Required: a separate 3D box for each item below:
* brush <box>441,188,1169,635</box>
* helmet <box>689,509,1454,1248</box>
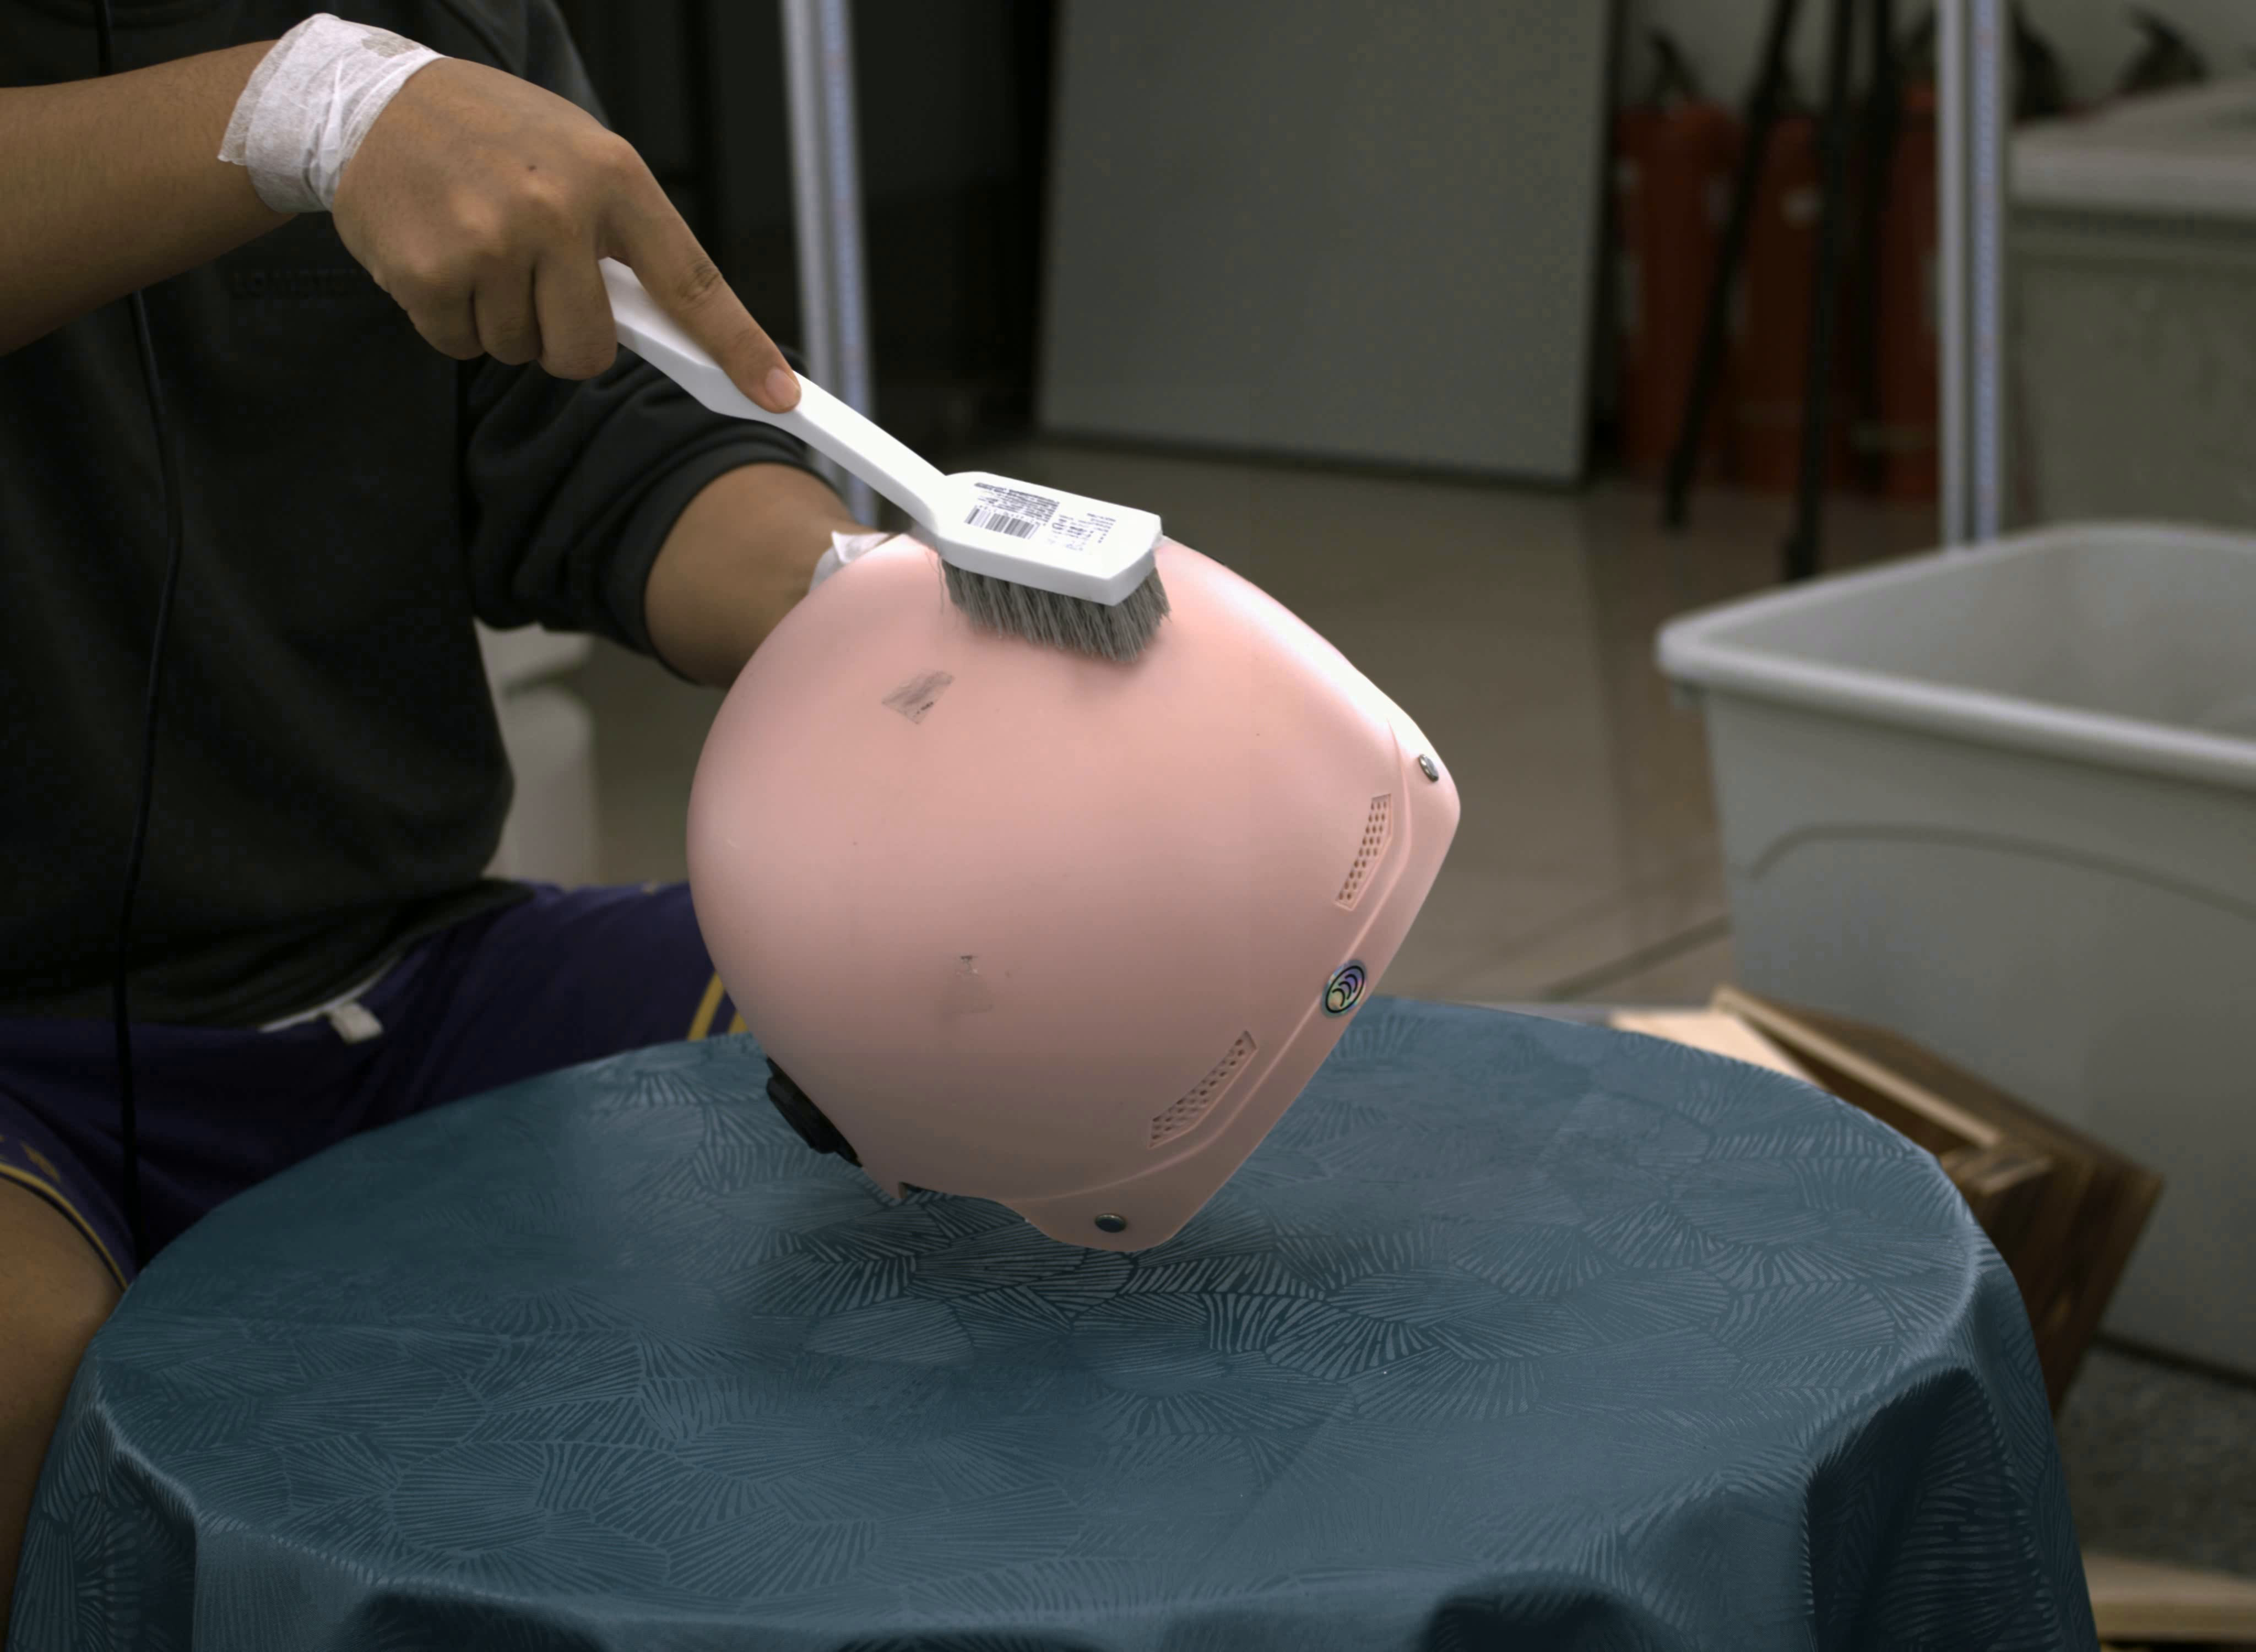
[{"bbox_3d":[-0.098,-0.121,1.609,0.242,0.050,0.034,25,47,7],"label":"brush"},{"bbox_3d":[-0.044,-0.008,1.683,0.269,0.234,0.157,23,-14,46],"label":"helmet"}]
